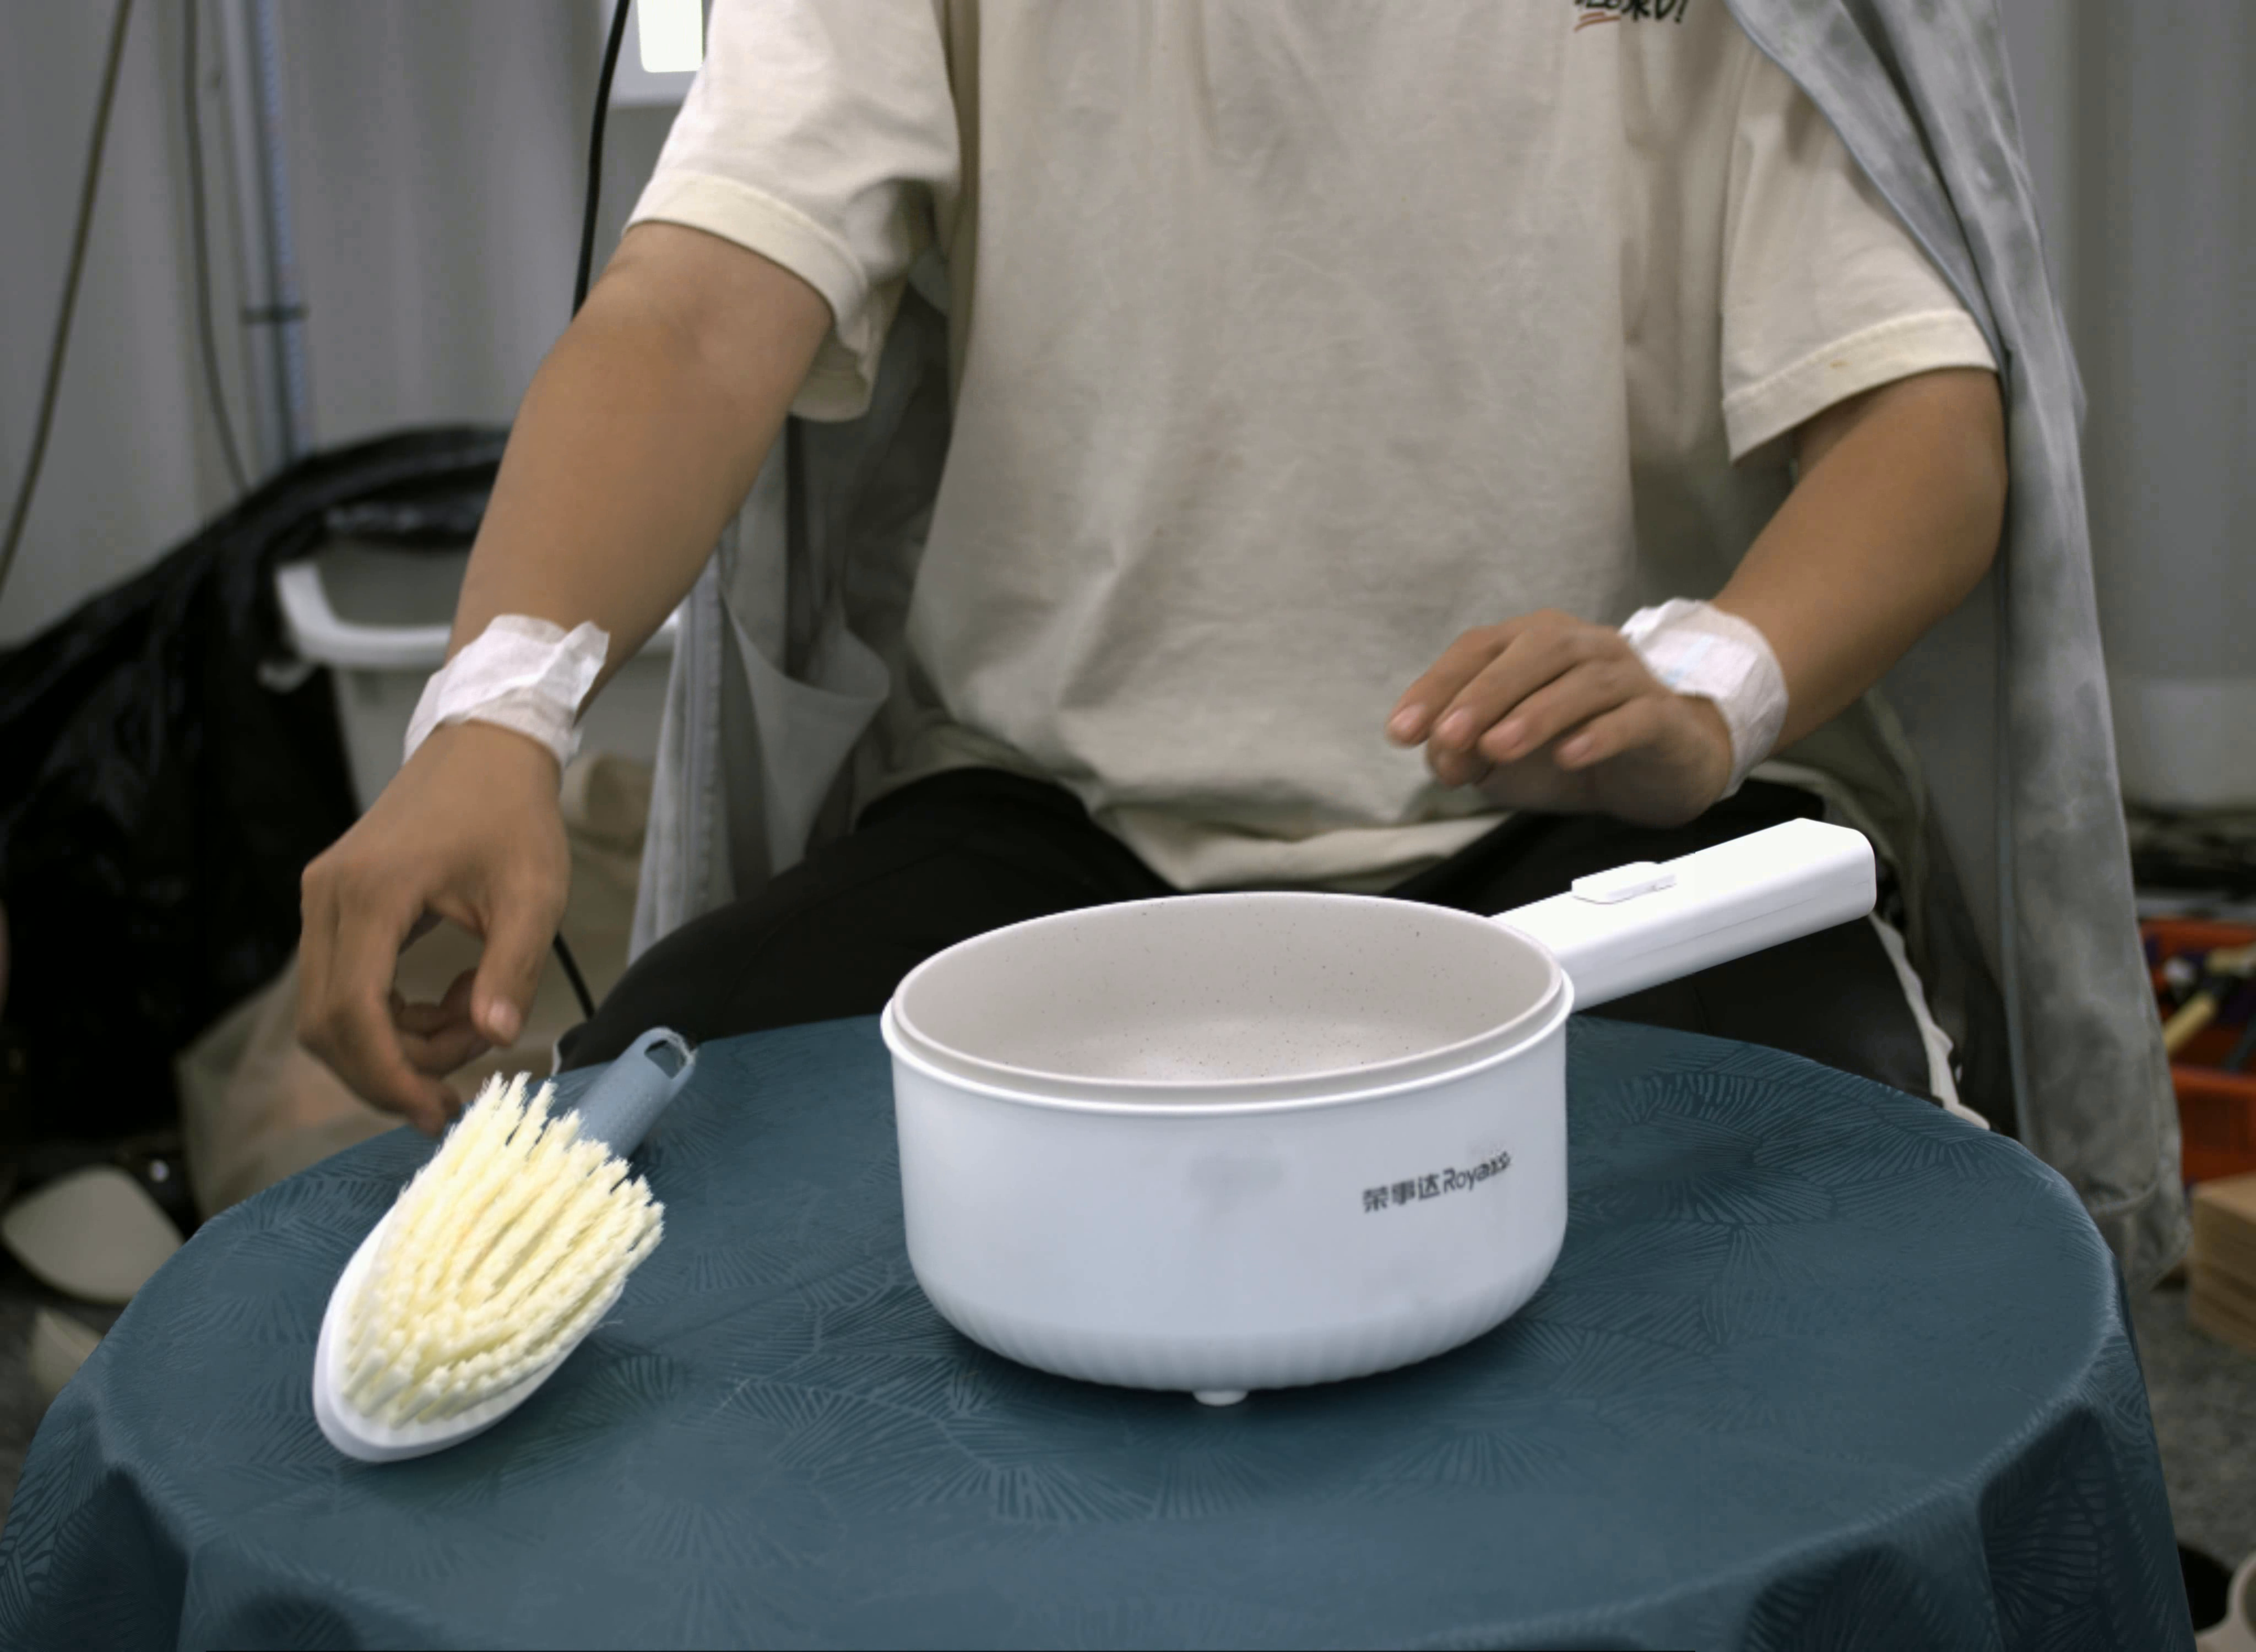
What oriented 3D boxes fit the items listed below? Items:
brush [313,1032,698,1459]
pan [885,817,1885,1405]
[{"bbox_3d":[-0.166,0.098,1.652,0.084,0.083,0.327,-7,15,14],"label":"brush"},{"bbox_3d":[0.090,0.078,1.643,0.354,0.102,0.202,-14,18,-37],"label":"pan"}]
